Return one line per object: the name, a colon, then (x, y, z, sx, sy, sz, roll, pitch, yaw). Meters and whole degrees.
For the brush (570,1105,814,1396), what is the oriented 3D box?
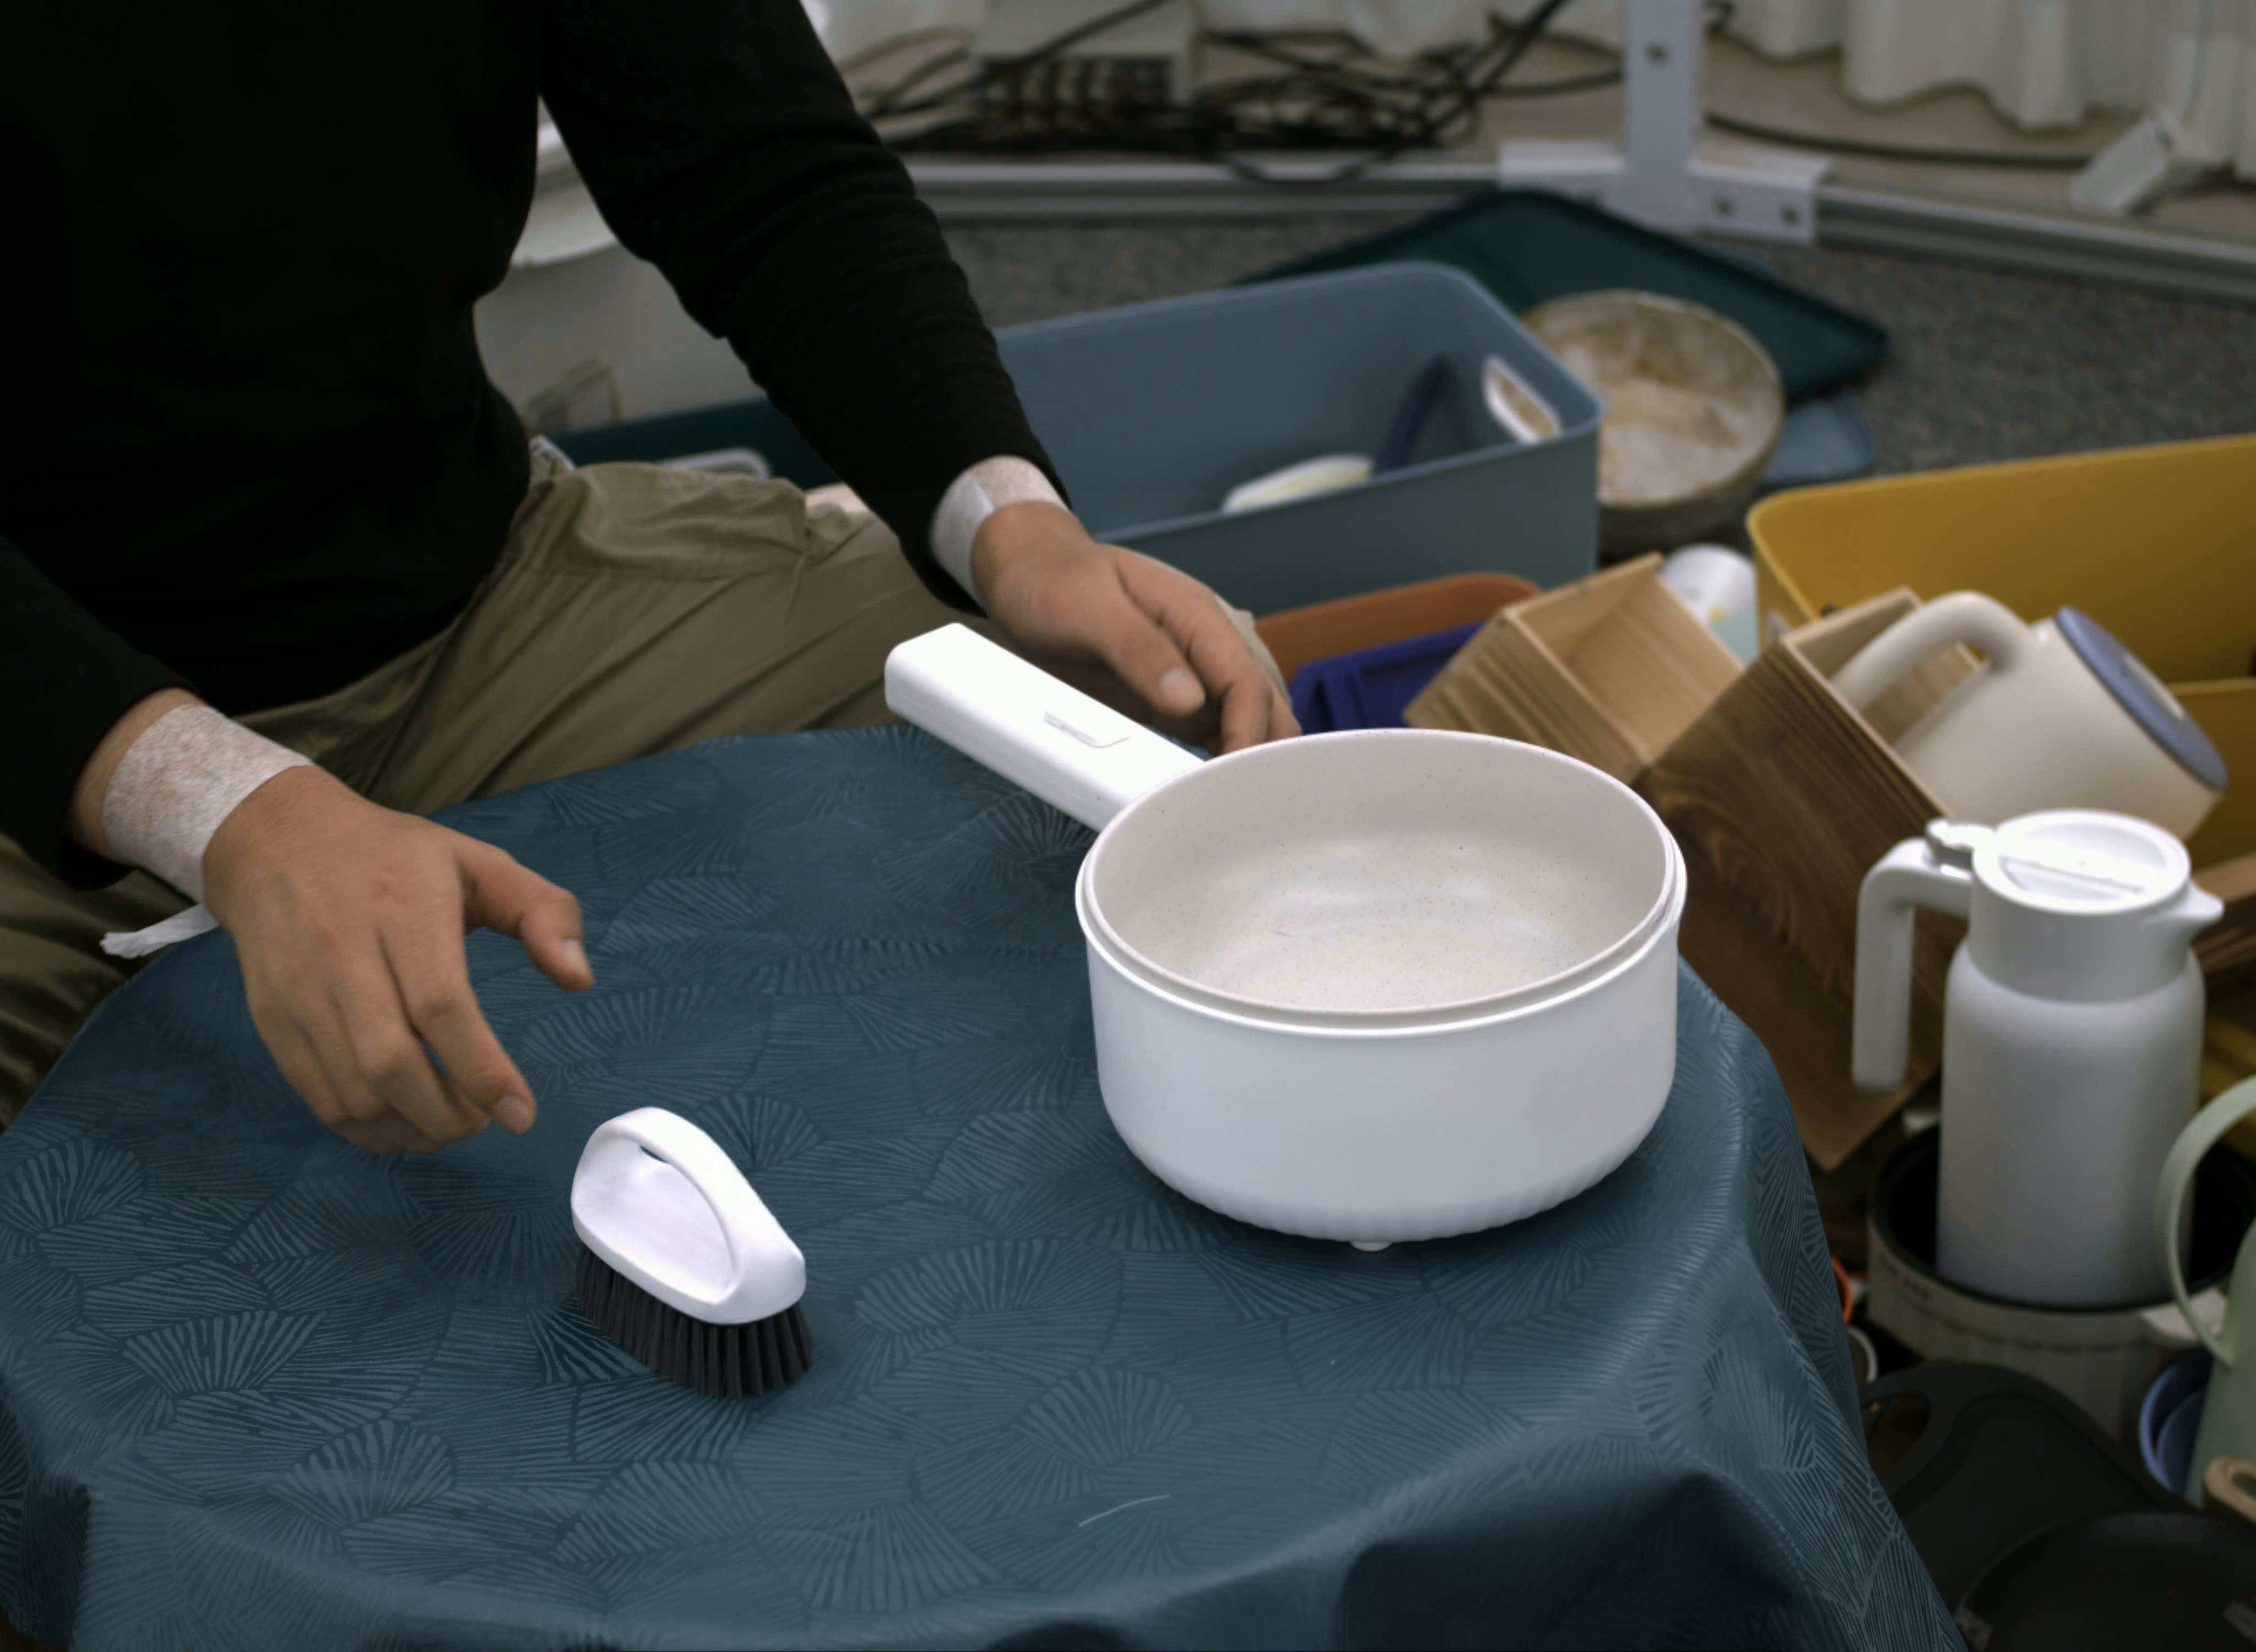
brush: (-0.141, 0.128, 1.784, 0.051, 0.072, 0.099, -21, 32, -31)

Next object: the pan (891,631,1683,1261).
pan: (0.038, 0.034, 1.926, 0.203, 0.101, 0.355, -24, 33, -31)
